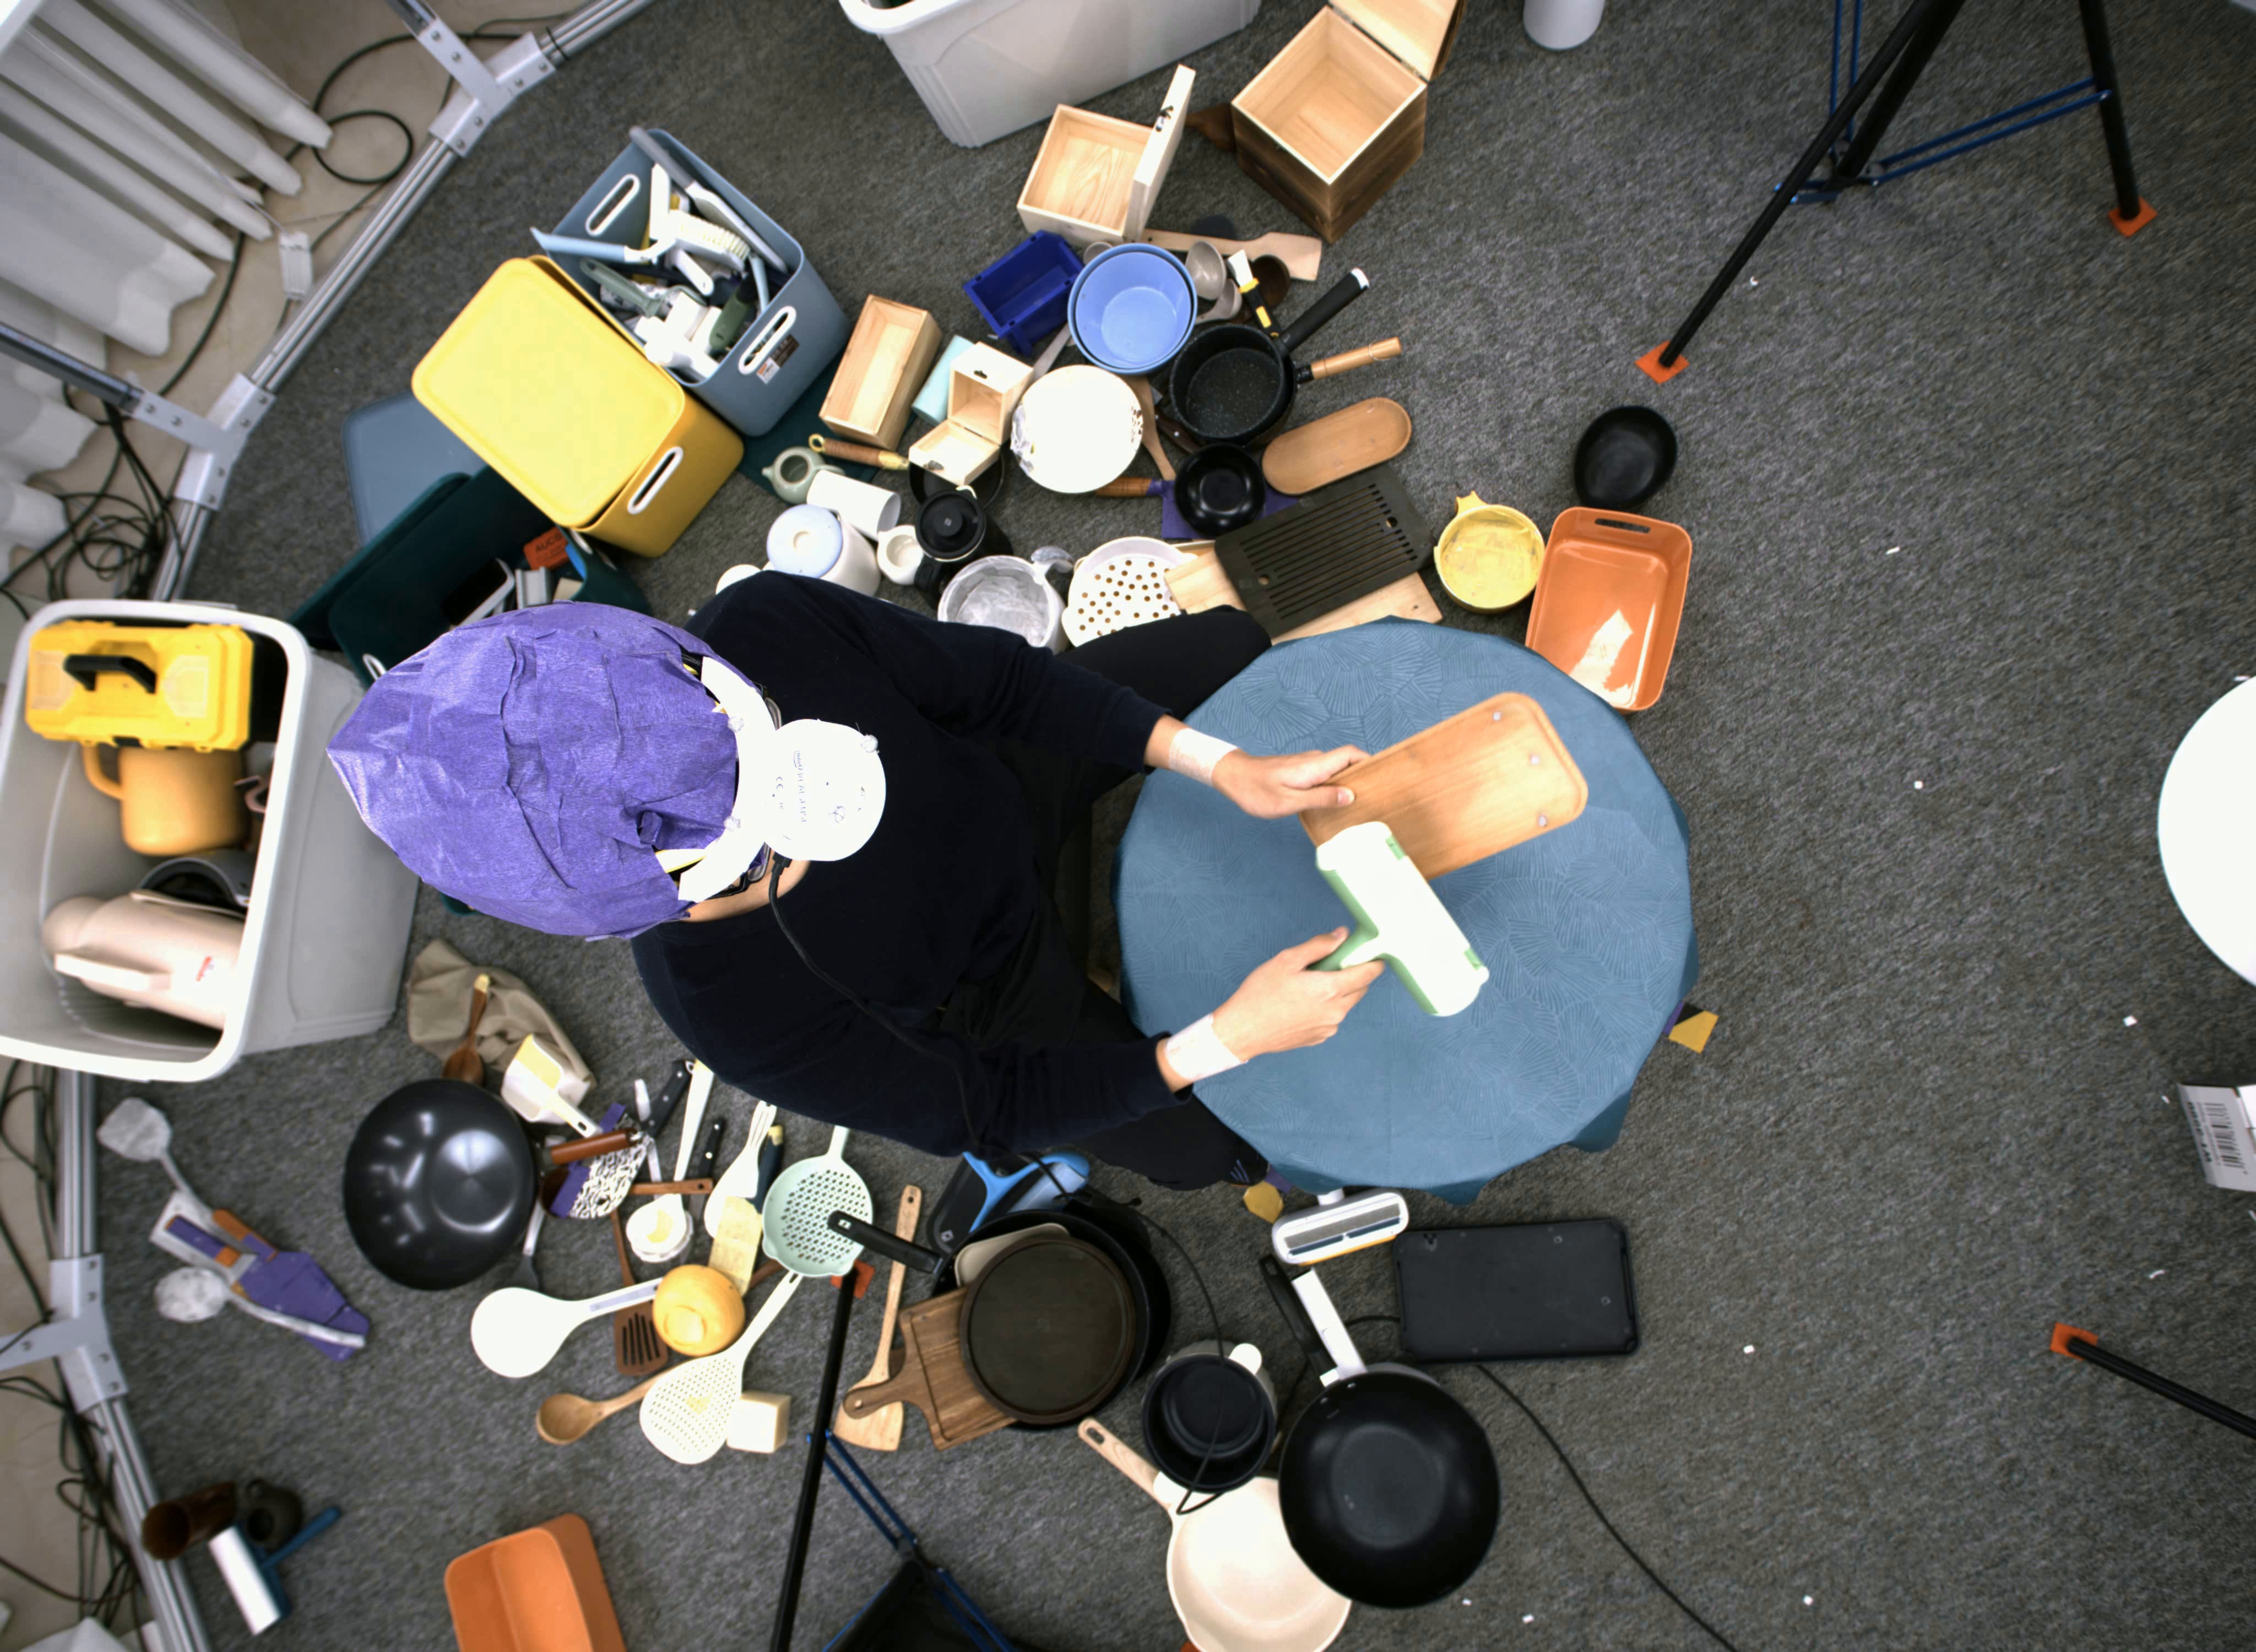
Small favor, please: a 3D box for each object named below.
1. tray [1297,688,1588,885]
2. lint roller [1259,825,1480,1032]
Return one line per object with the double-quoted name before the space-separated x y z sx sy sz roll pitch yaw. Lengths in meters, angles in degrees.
"tray" 0.273 -0.026 1.214 0.255 0.022 0.131 -27 101 37
"lint roller" 0.196 0.124 1.209 0.183 0.081 0.200 -41 112 -4
